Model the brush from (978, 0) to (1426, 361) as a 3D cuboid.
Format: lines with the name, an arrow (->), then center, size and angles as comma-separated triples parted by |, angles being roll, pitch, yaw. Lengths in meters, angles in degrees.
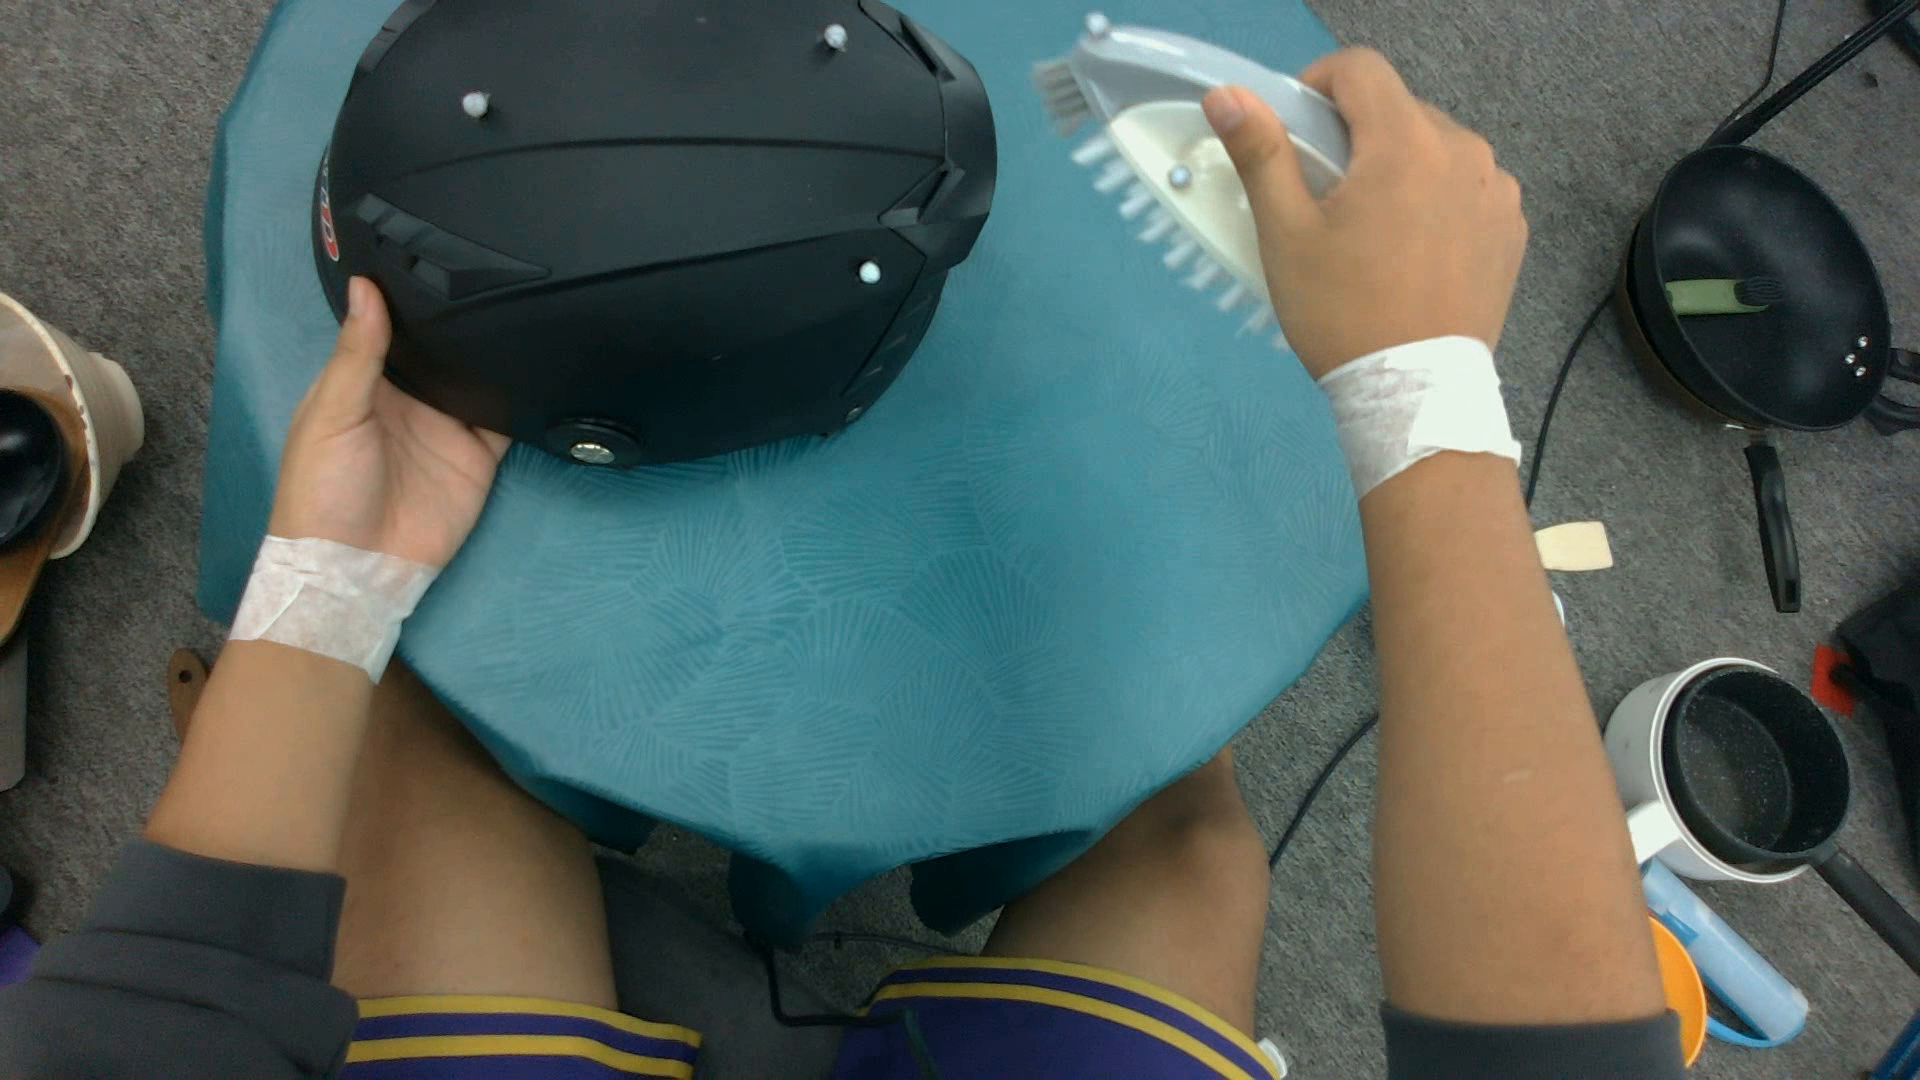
brush -> 0.091, -0.144, 0.502 | 0.175, 0.094, 0.061 | 34, 69, -6

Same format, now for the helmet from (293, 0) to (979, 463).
helmet -> -0.136, -0.163, 0.583 | 0.277, 0.172, 0.247 | 1, 74, -19
